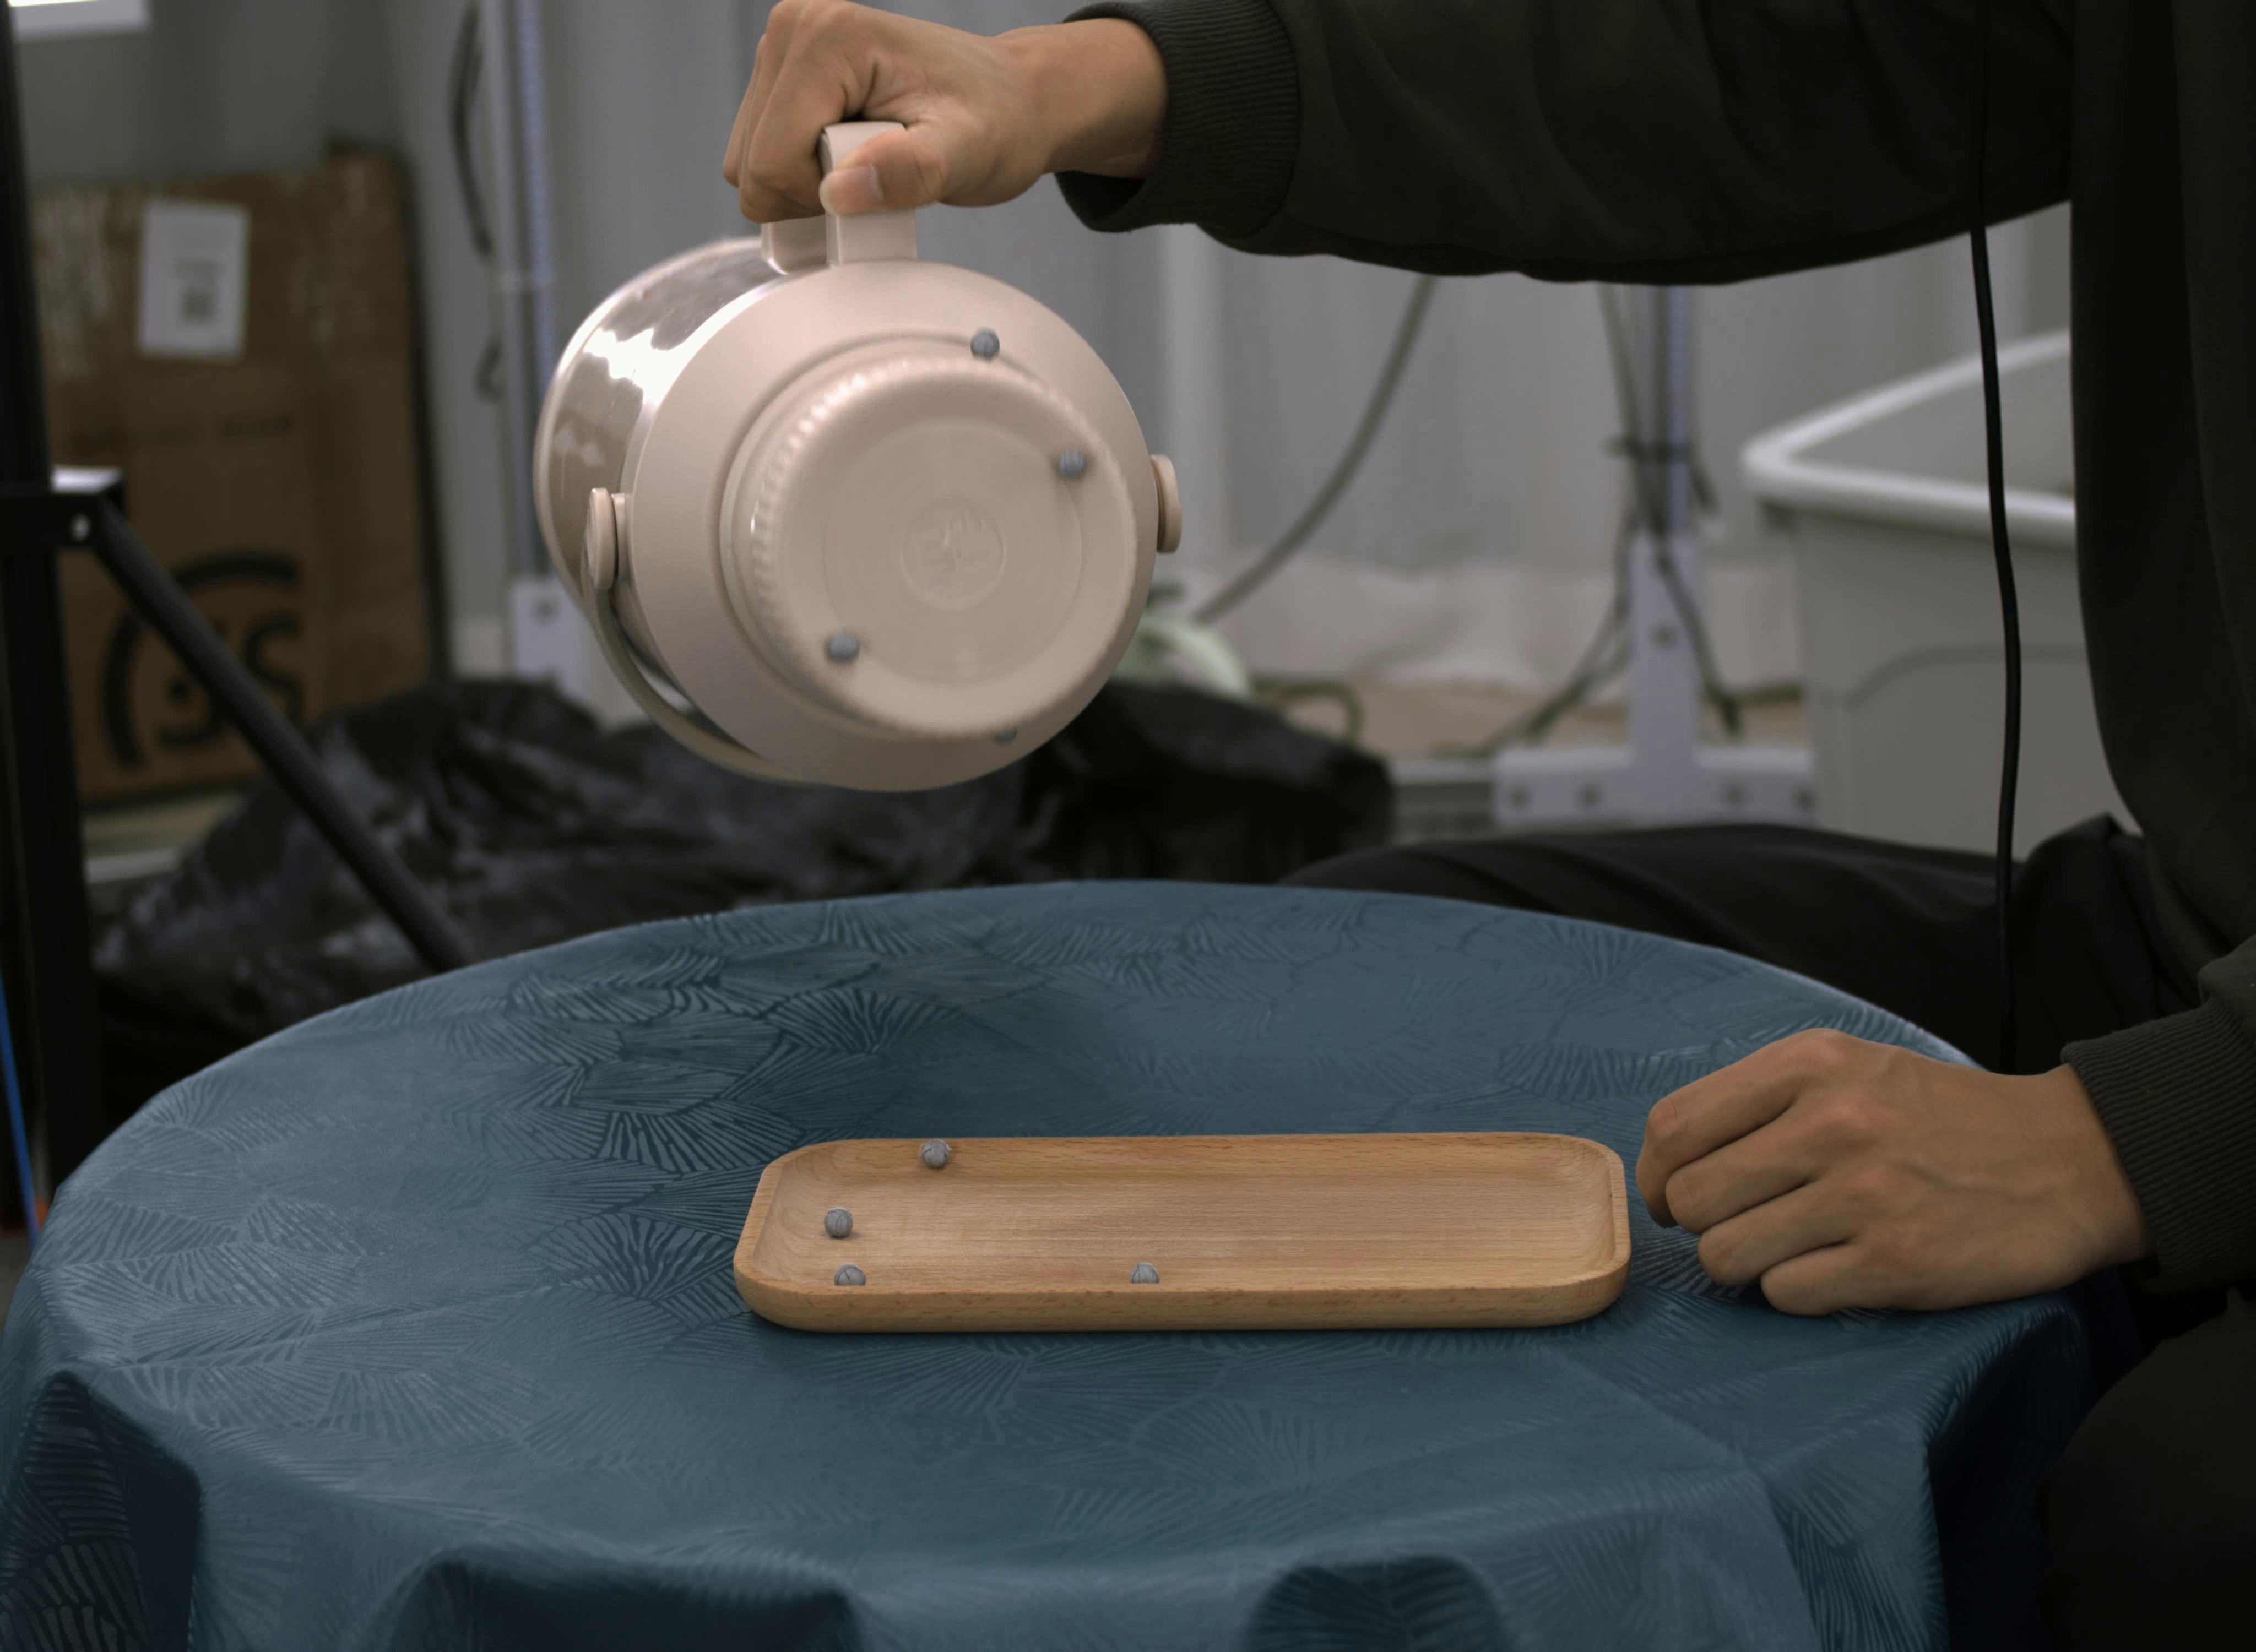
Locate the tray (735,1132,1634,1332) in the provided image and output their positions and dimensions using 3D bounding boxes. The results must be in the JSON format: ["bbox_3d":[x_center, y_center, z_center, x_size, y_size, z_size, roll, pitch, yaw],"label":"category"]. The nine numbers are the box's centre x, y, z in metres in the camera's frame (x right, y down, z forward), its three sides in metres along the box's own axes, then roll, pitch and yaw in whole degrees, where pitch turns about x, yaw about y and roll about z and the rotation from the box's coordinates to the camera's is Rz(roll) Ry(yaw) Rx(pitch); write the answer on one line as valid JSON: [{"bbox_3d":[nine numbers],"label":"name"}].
[{"bbox_3d":[0.017,0.115,1.503,0.251,0.023,0.130,0,18,6],"label":"tray"}]

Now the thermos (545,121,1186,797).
[{"bbox_3d":[-0.084,-0.113,1.649,0.173,0.207,0.410,-4,9,-9],"label":"thermos"}]
